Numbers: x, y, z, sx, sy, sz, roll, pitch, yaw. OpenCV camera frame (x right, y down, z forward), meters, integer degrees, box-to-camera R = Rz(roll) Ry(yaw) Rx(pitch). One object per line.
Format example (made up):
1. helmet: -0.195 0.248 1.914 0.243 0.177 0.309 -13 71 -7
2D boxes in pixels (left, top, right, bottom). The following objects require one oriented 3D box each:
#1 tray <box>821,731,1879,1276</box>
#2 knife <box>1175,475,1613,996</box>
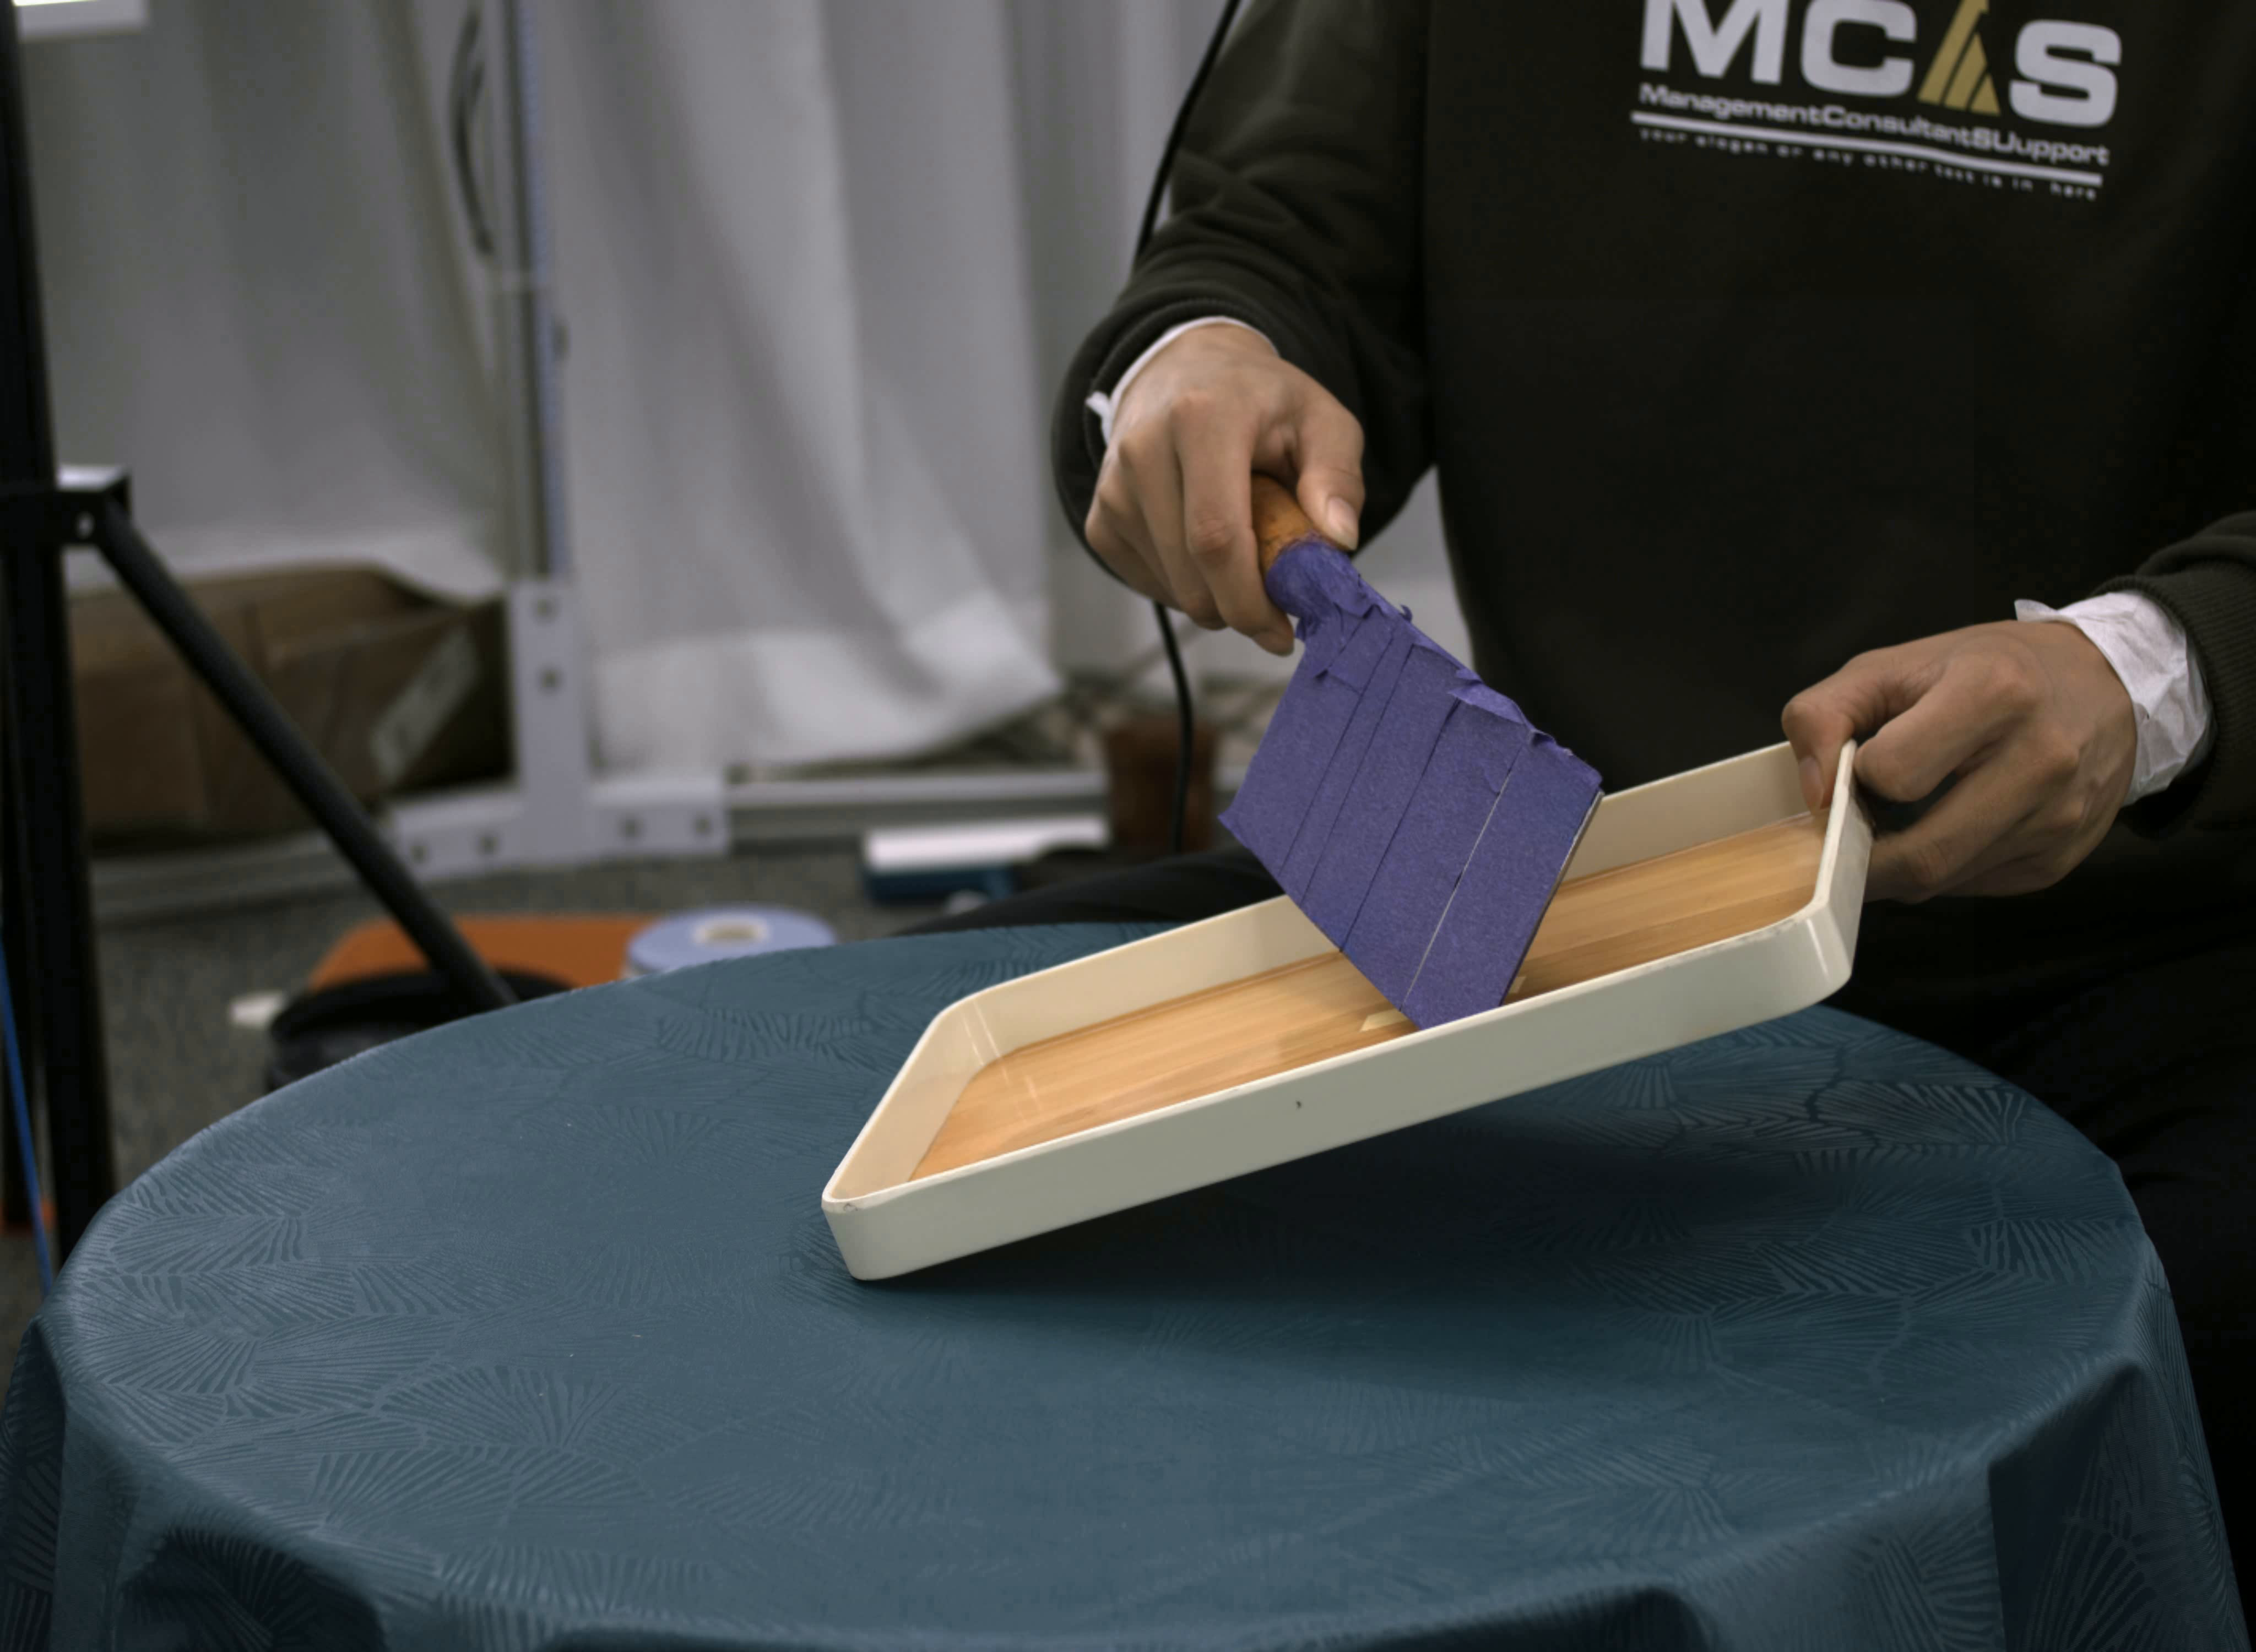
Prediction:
1. tray: 0.068 0.051 1.536 0.302 0.027 0.190 -17 13 17
2. knife: 0.061 -0.027 1.592 0.031 0.104 0.320 22 10 -22
